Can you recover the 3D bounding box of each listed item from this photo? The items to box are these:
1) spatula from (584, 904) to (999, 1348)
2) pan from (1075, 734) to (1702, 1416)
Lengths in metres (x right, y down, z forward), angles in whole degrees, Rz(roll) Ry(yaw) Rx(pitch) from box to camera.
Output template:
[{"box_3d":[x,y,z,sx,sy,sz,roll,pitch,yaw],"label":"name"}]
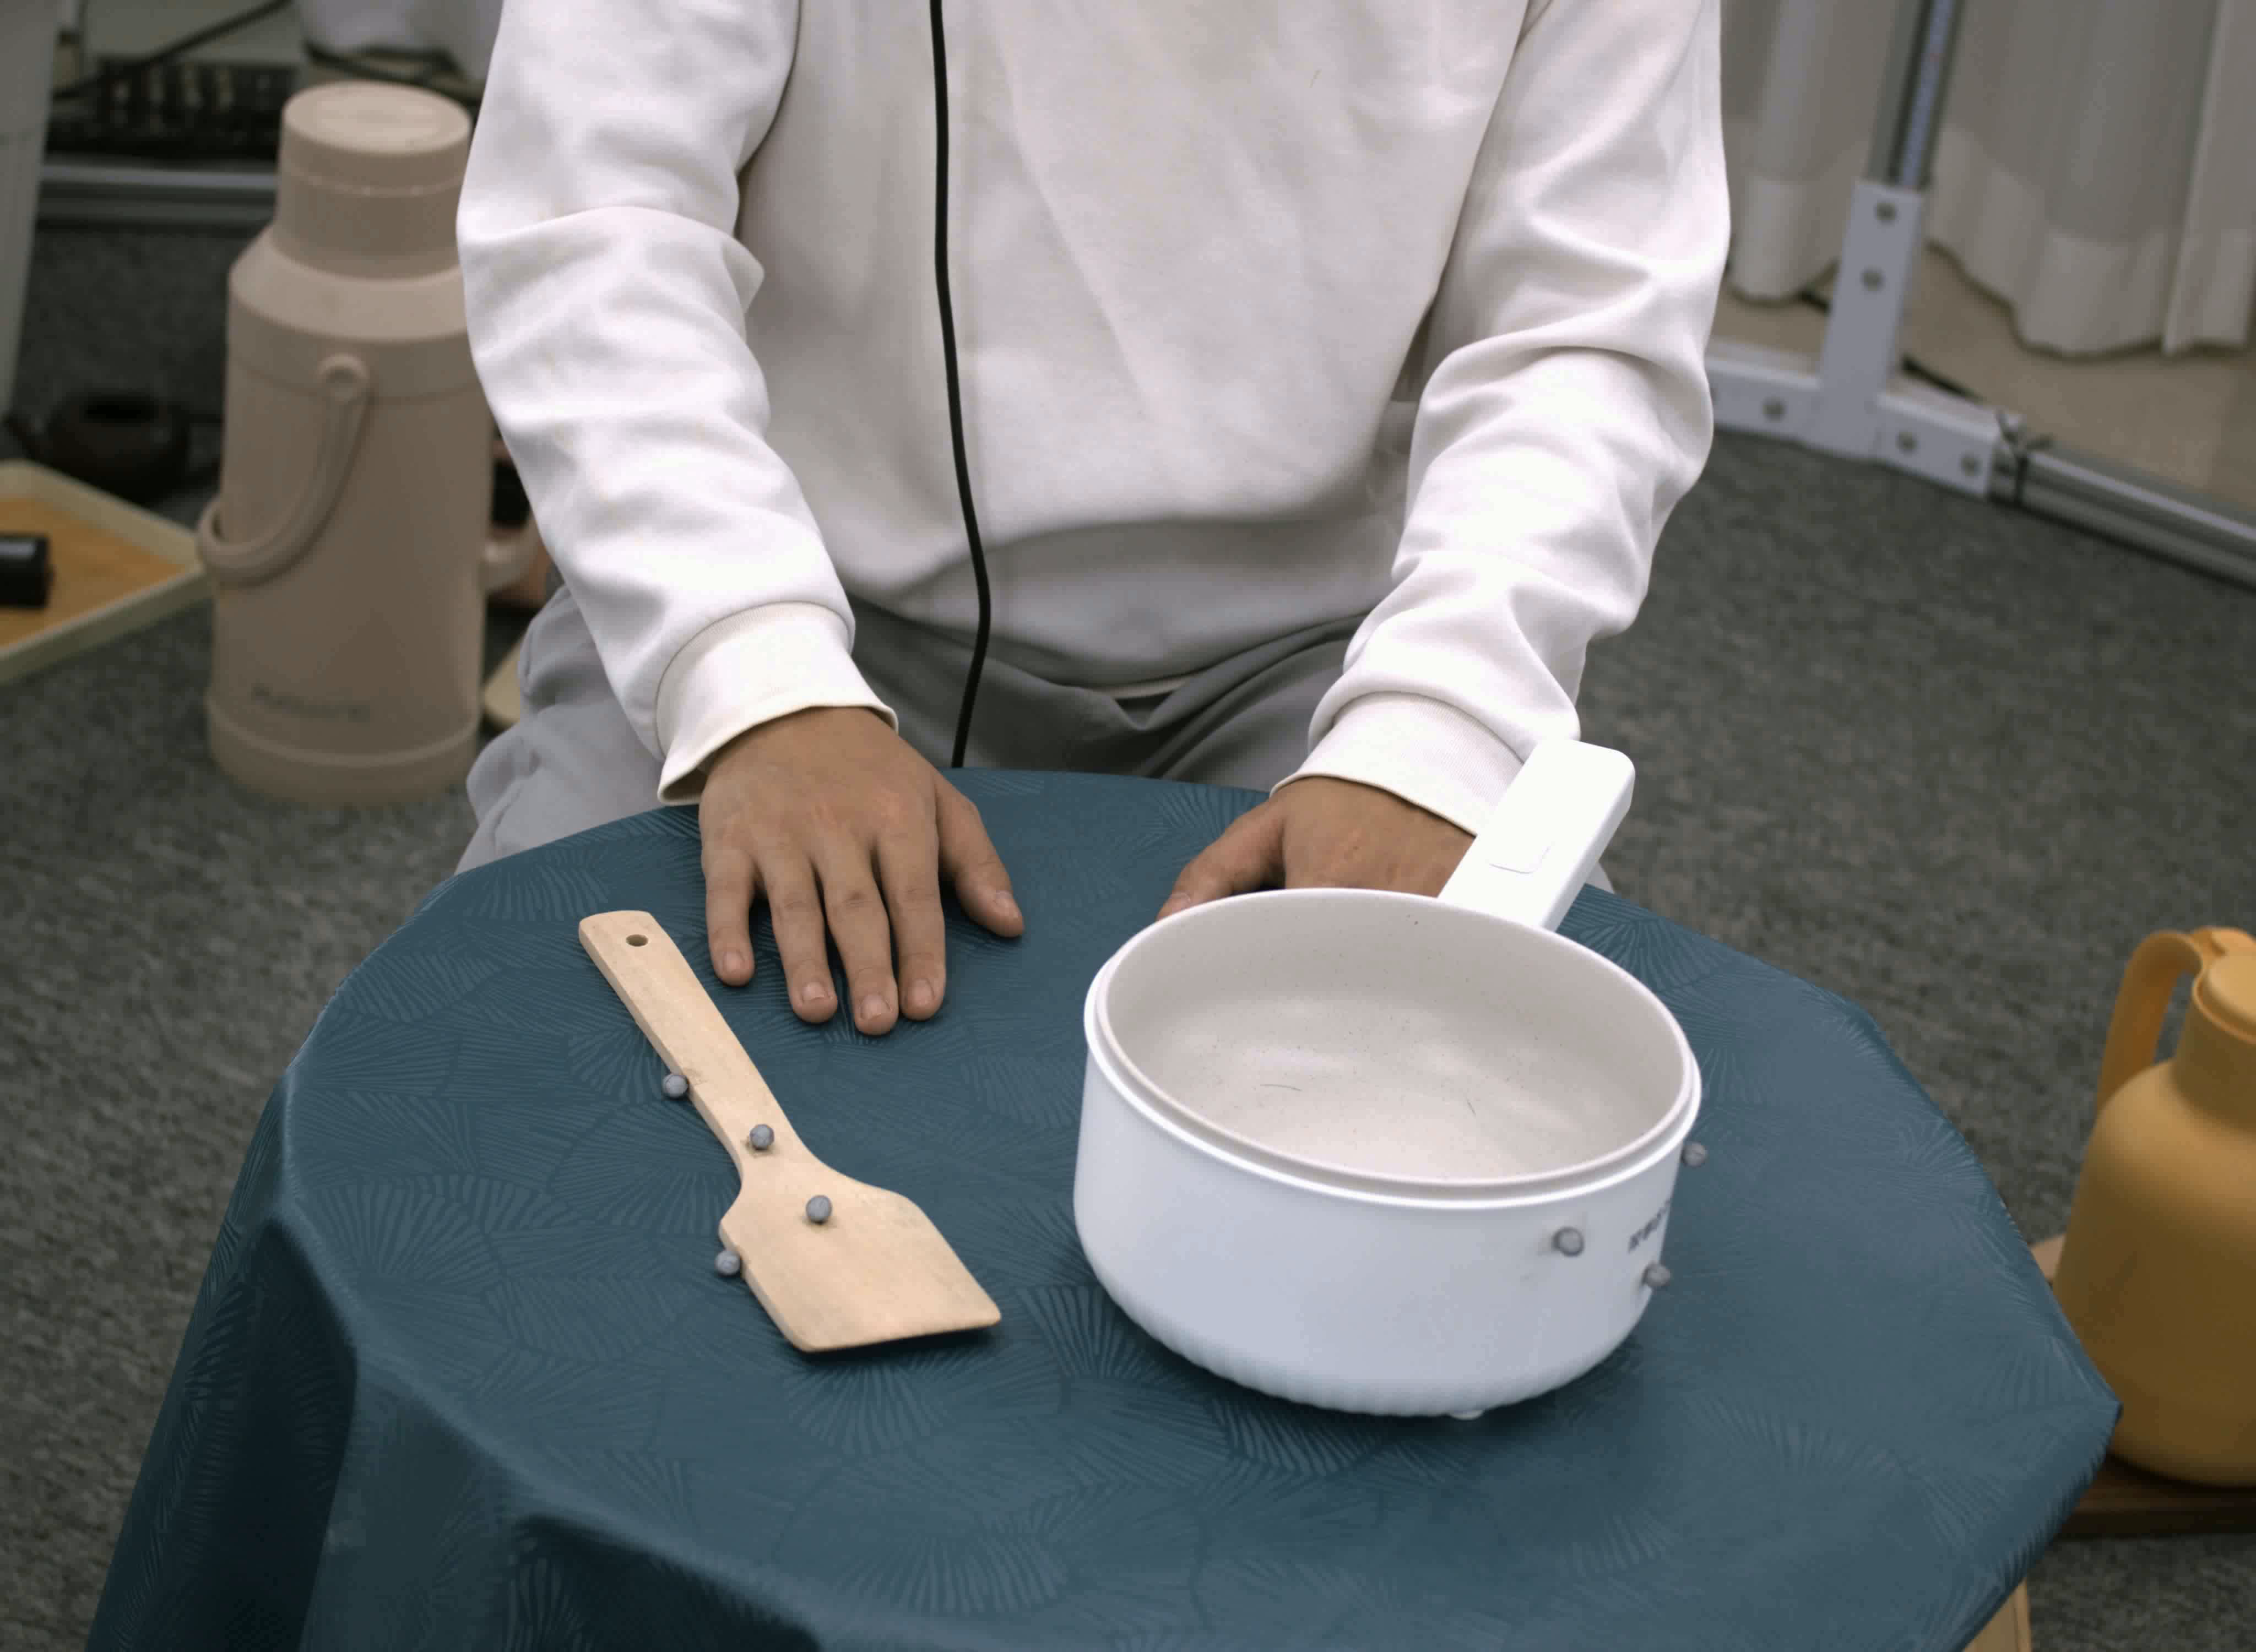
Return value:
[{"box_3d":[-0.130,0.098,1.816,0.072,0.010,0.296,-7,30,-23],"label":"spatula"},{"box_3d":[0.106,0.079,1.807,0.201,0.102,0.355,14,27,14],"label":"pan"}]
